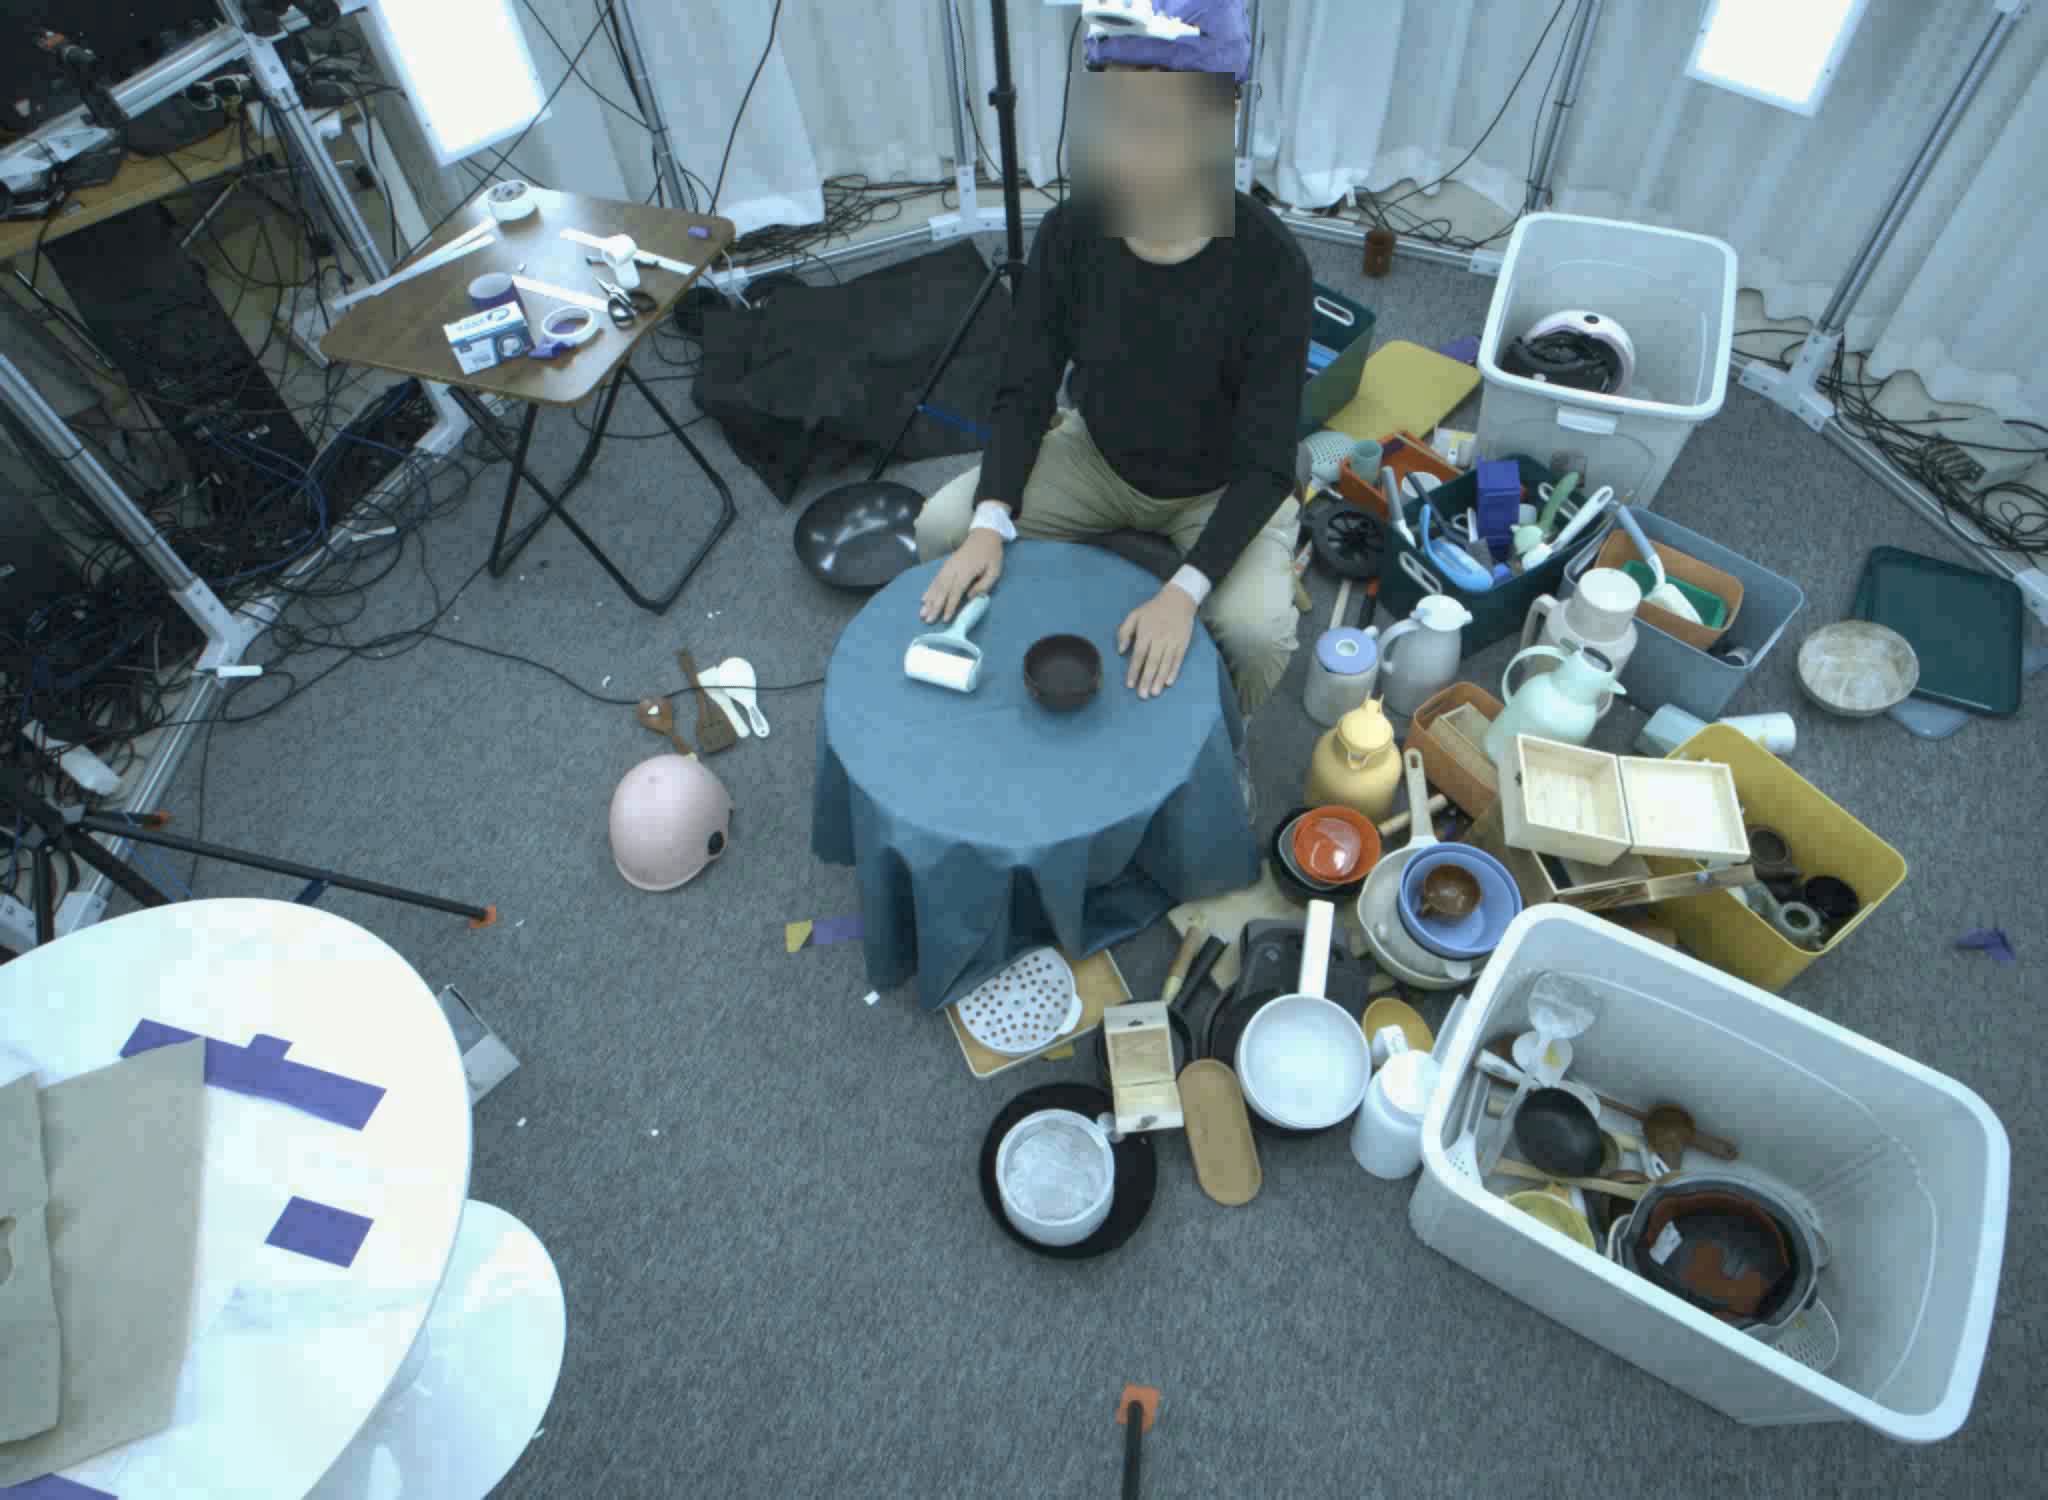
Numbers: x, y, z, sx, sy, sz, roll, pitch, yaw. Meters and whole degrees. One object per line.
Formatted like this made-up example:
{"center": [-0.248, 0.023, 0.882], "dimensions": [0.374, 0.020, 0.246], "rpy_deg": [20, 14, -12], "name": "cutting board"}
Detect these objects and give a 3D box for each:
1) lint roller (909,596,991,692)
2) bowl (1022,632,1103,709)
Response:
{"center": [-0.091, -0.175, 1.887], "dimensions": [0.115, 0.049, 0.197], "rpy_deg": [15, 55, 14], "name": "lint roller"}
{"center": [0.058, -0.109, 1.819], "dimensions": [0.118, 0.070, 0.117], "rpy_deg": [-1, 54, 3], "name": "bowl"}
